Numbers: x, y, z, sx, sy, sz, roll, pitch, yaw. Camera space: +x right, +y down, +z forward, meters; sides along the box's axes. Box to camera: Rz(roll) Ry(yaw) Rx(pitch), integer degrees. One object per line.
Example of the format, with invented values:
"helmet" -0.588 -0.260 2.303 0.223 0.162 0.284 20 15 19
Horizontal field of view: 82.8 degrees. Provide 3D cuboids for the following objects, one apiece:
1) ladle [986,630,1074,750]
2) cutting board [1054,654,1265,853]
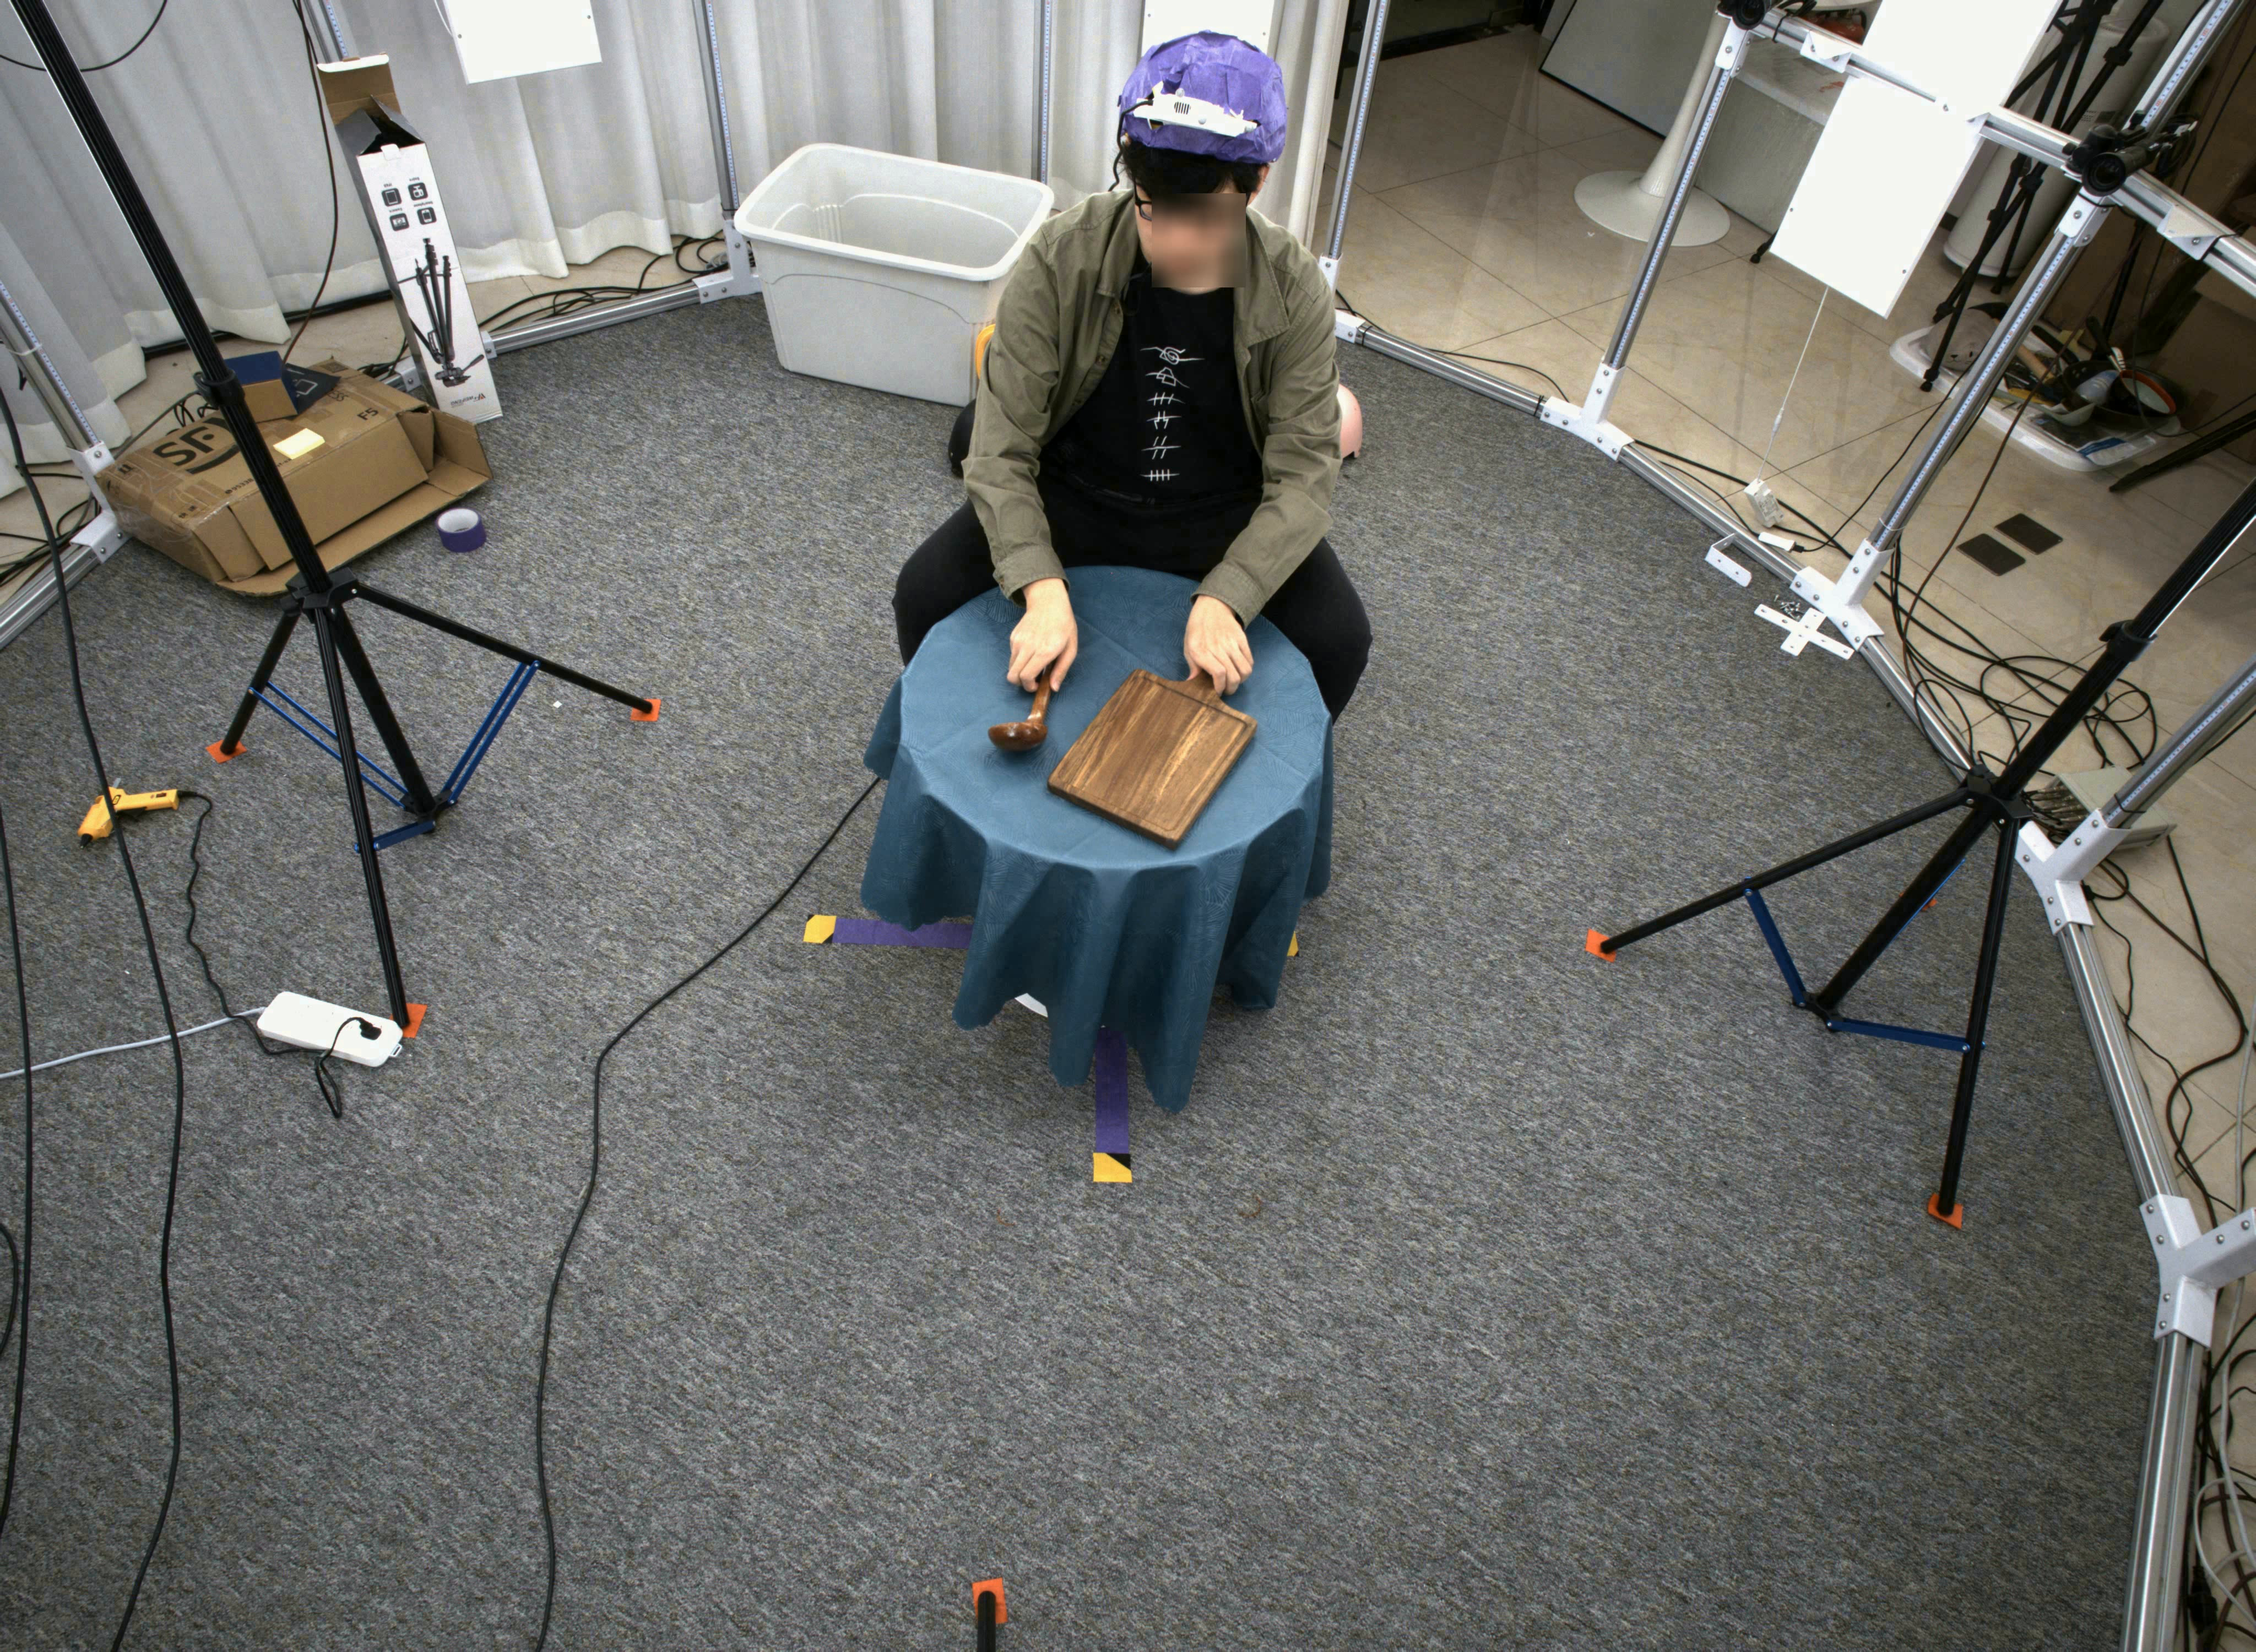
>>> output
"ladle" -0.128 -0.204 1.778 0.082 0.075 0.280 -2 46 18
"cutting board" 0.070 -0.124 1.752 0.202 0.022 0.358 26 53 16
